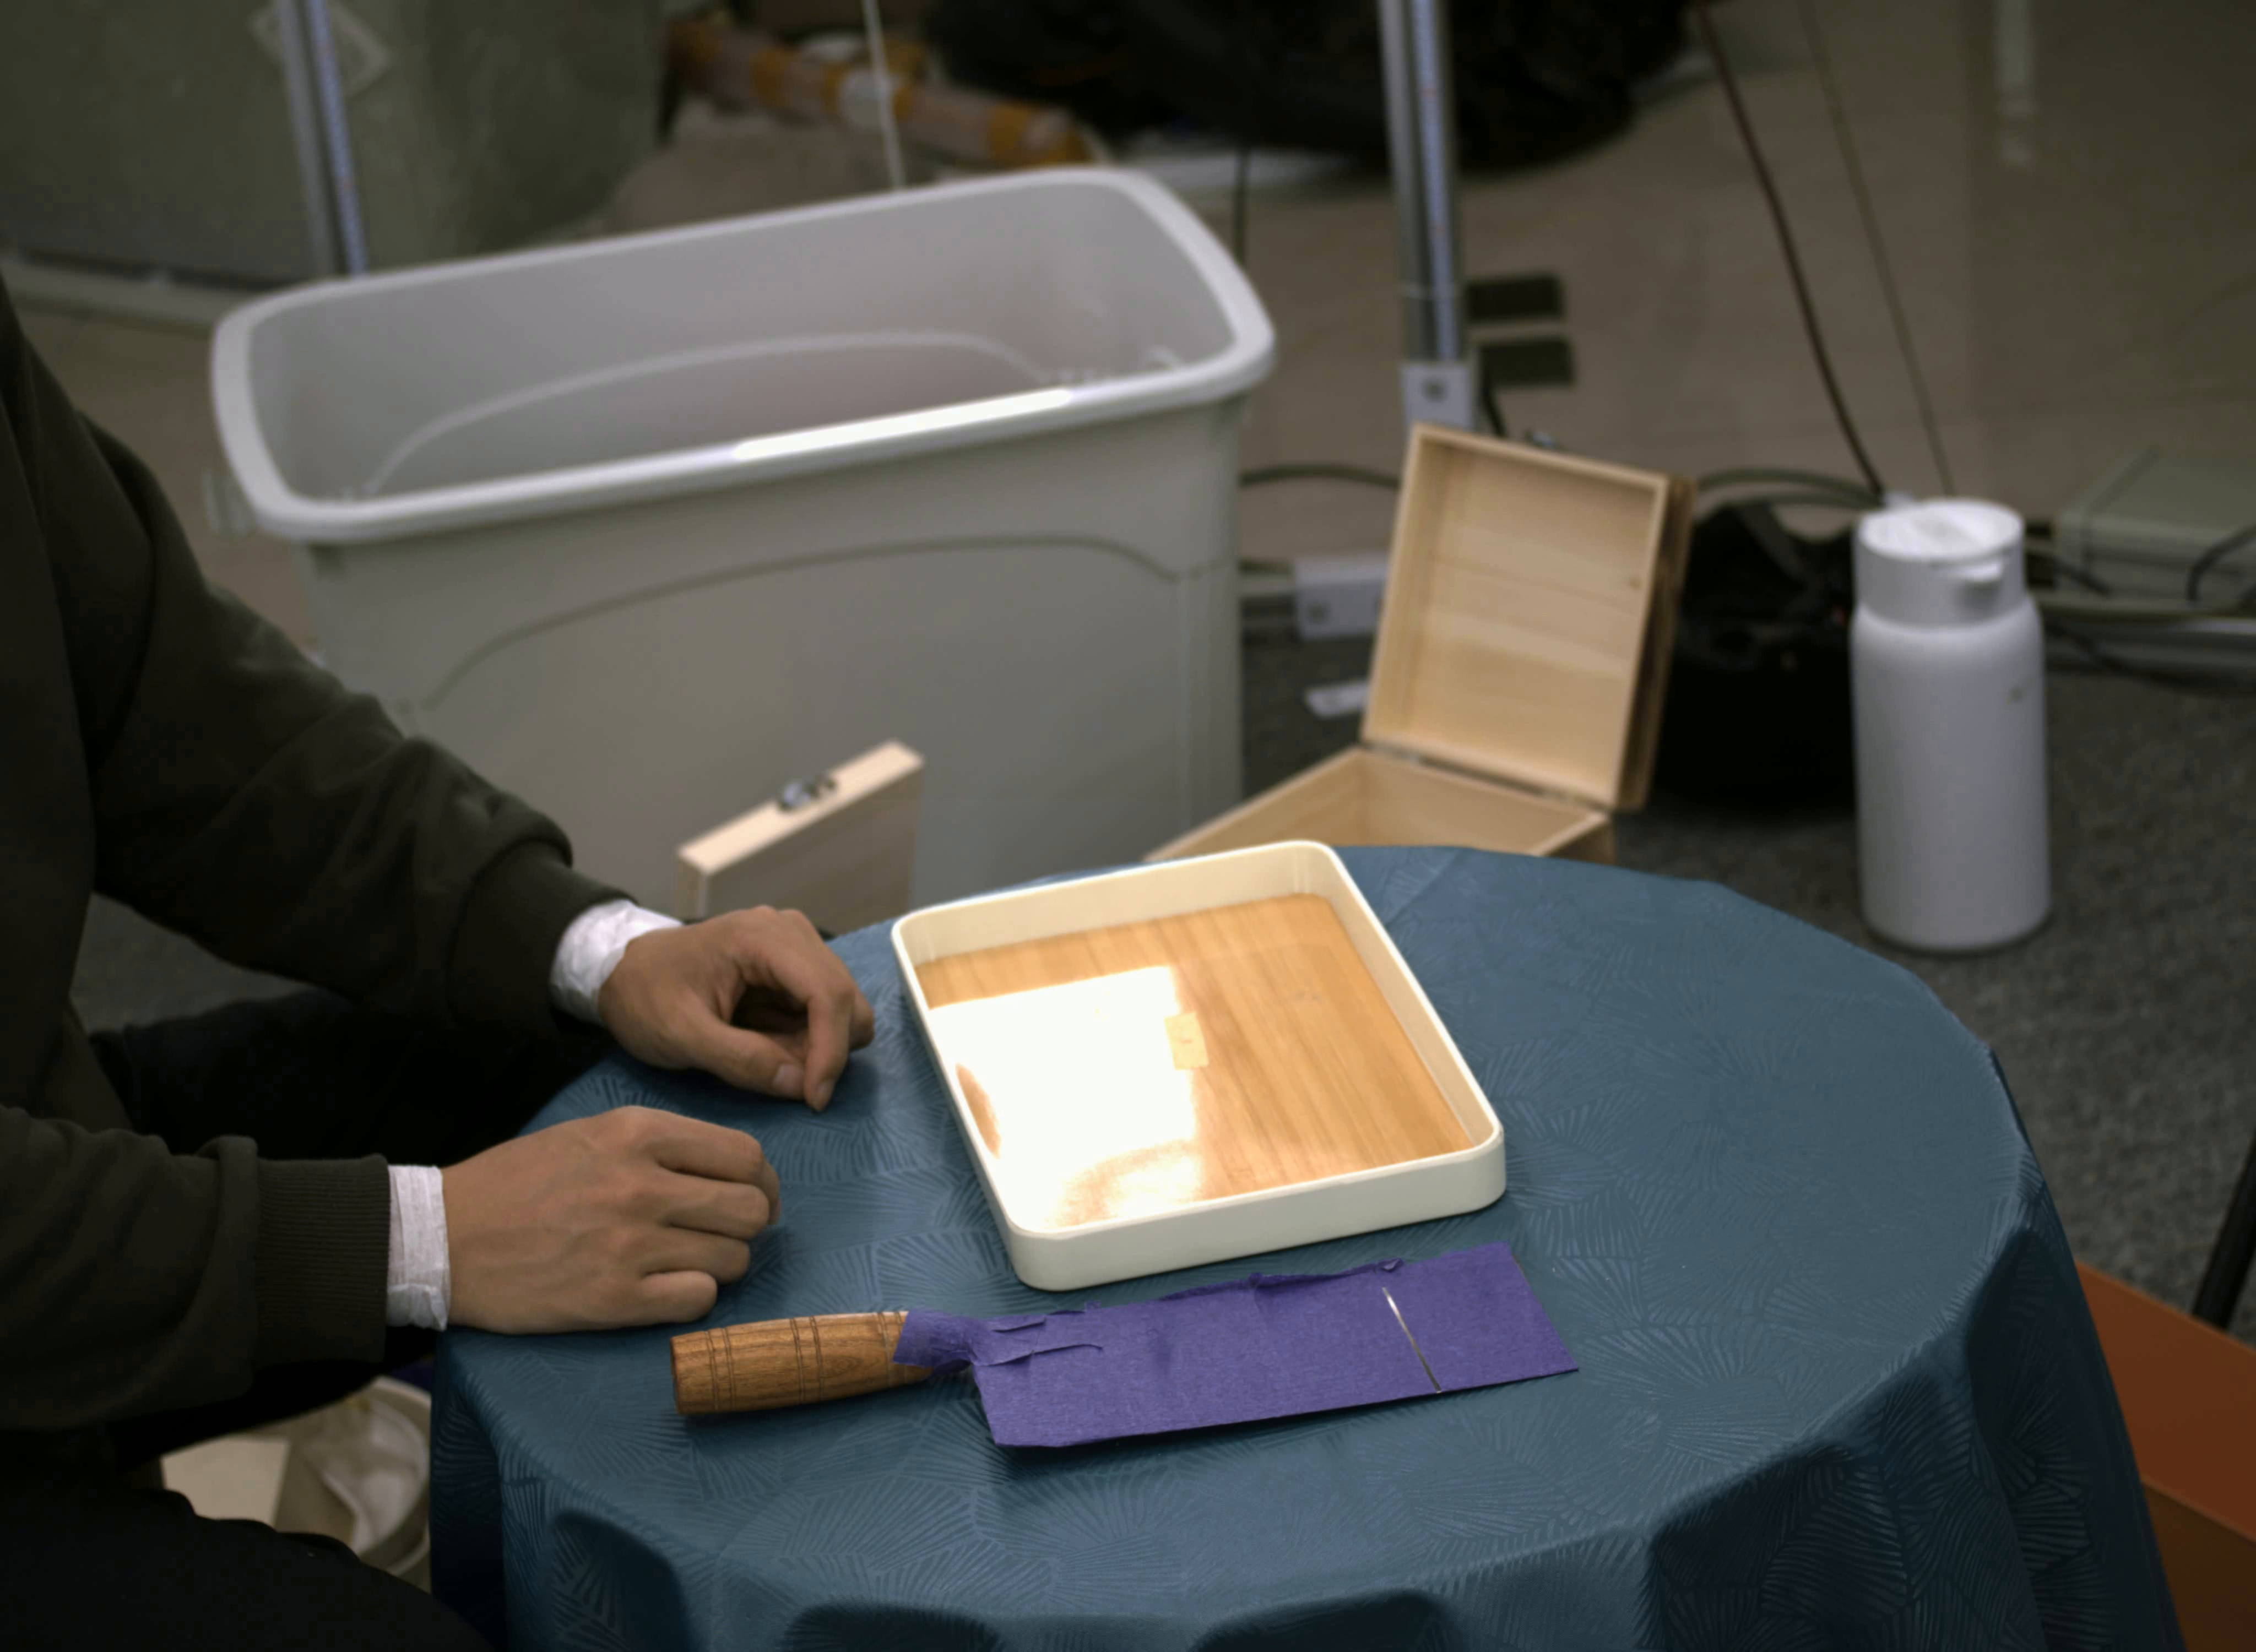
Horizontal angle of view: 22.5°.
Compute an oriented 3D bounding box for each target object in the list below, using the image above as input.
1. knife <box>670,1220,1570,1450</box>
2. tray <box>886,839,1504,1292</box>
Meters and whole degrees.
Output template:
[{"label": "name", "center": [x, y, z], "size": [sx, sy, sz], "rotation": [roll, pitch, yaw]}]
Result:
[{"label": "knife", "center": [-0.003, 0.187, 2.015], "size": [0.314, 0.033, 0.102], "rotation": [-10, 24, -8]}, {"label": "tray", "center": [0.021, 0.089, 2.222], "size": [0.191, 0.028, 0.296], "rotation": [-11, 25, -8]}]
